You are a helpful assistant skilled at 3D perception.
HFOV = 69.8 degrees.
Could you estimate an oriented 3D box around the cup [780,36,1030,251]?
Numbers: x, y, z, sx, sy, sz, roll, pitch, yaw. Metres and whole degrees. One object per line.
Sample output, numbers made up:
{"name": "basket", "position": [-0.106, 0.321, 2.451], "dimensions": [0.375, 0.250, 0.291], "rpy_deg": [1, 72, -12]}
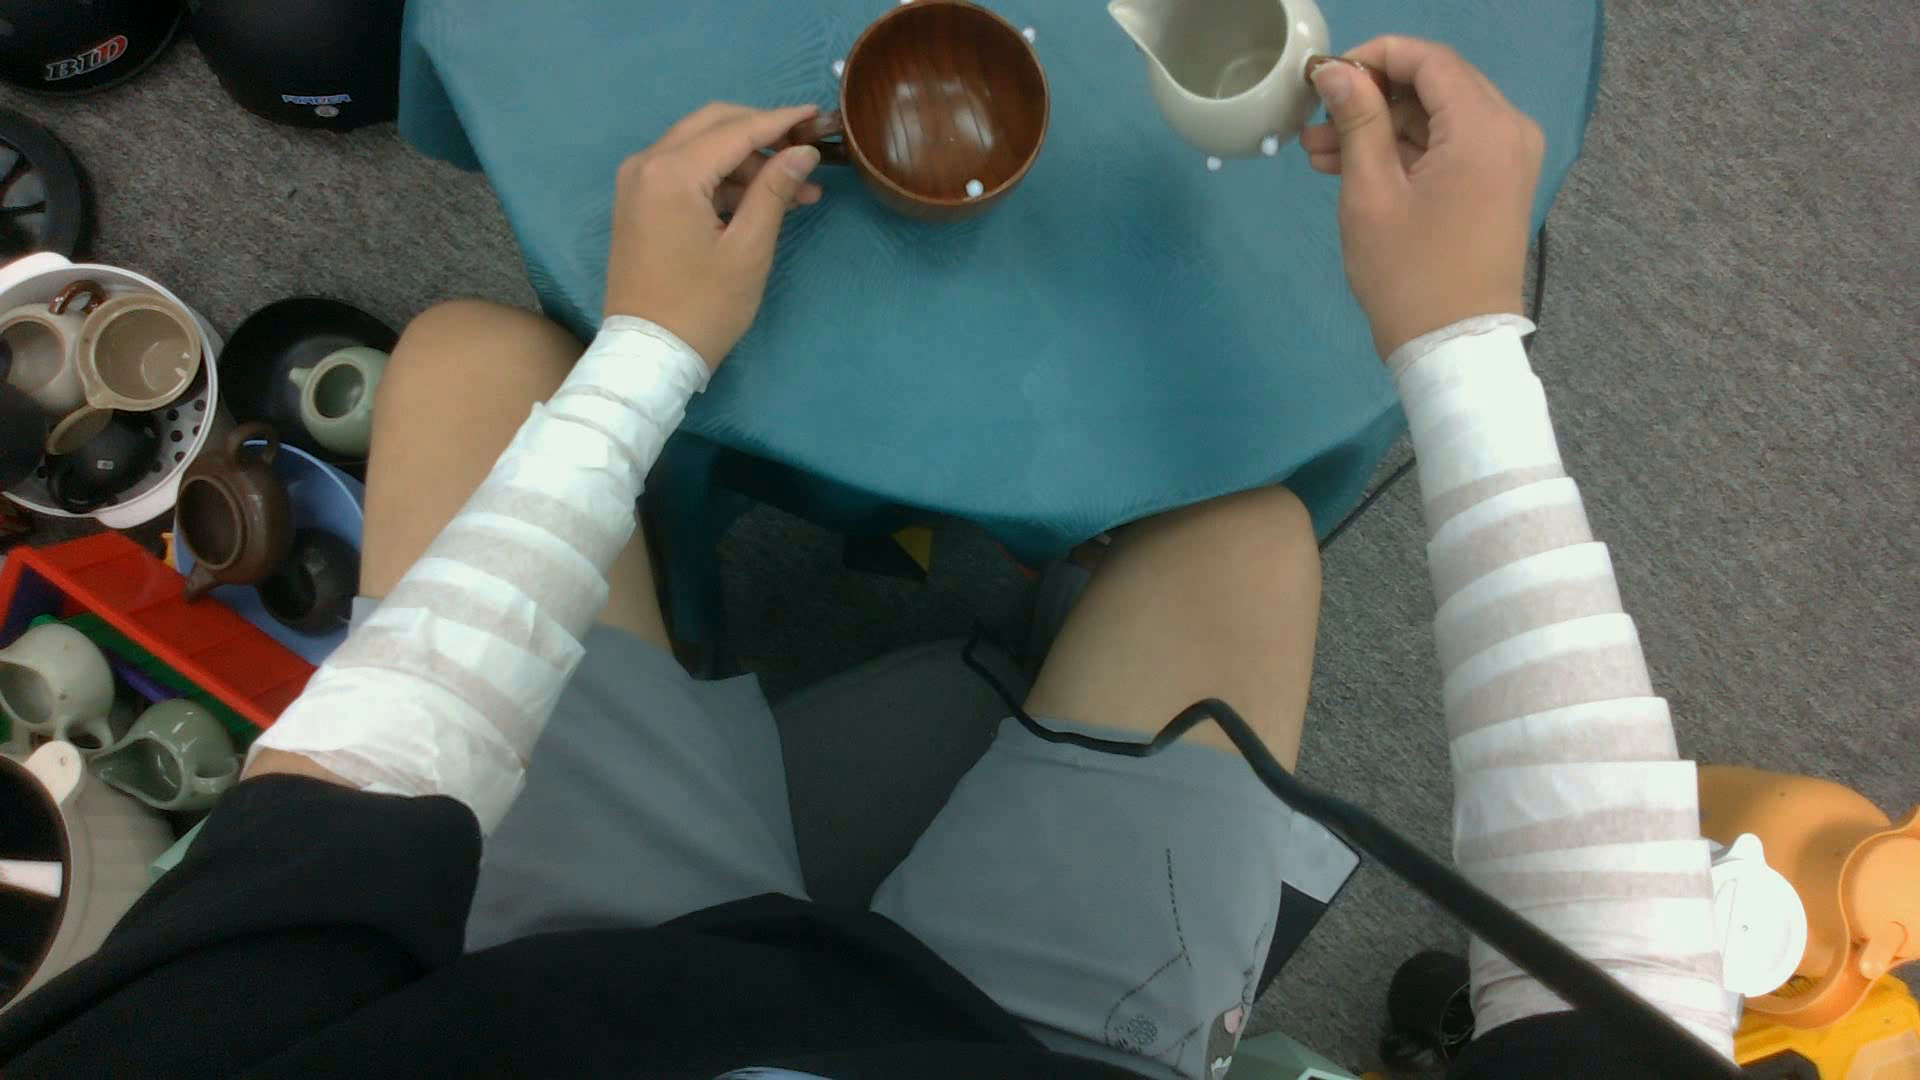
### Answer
{"name": "cup", "position": [-0.029, -0.182, 0.666], "dimensions": [0.119, 0.067, 0.096], "rpy_deg": [-15, 89, -6]}

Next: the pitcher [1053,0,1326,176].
{"name": "pitcher", "position": [0.110, -0.198, 0.611], "dimensions": [0.119, 0.088, 0.075], "rpy_deg": [26, 103, 25]}
